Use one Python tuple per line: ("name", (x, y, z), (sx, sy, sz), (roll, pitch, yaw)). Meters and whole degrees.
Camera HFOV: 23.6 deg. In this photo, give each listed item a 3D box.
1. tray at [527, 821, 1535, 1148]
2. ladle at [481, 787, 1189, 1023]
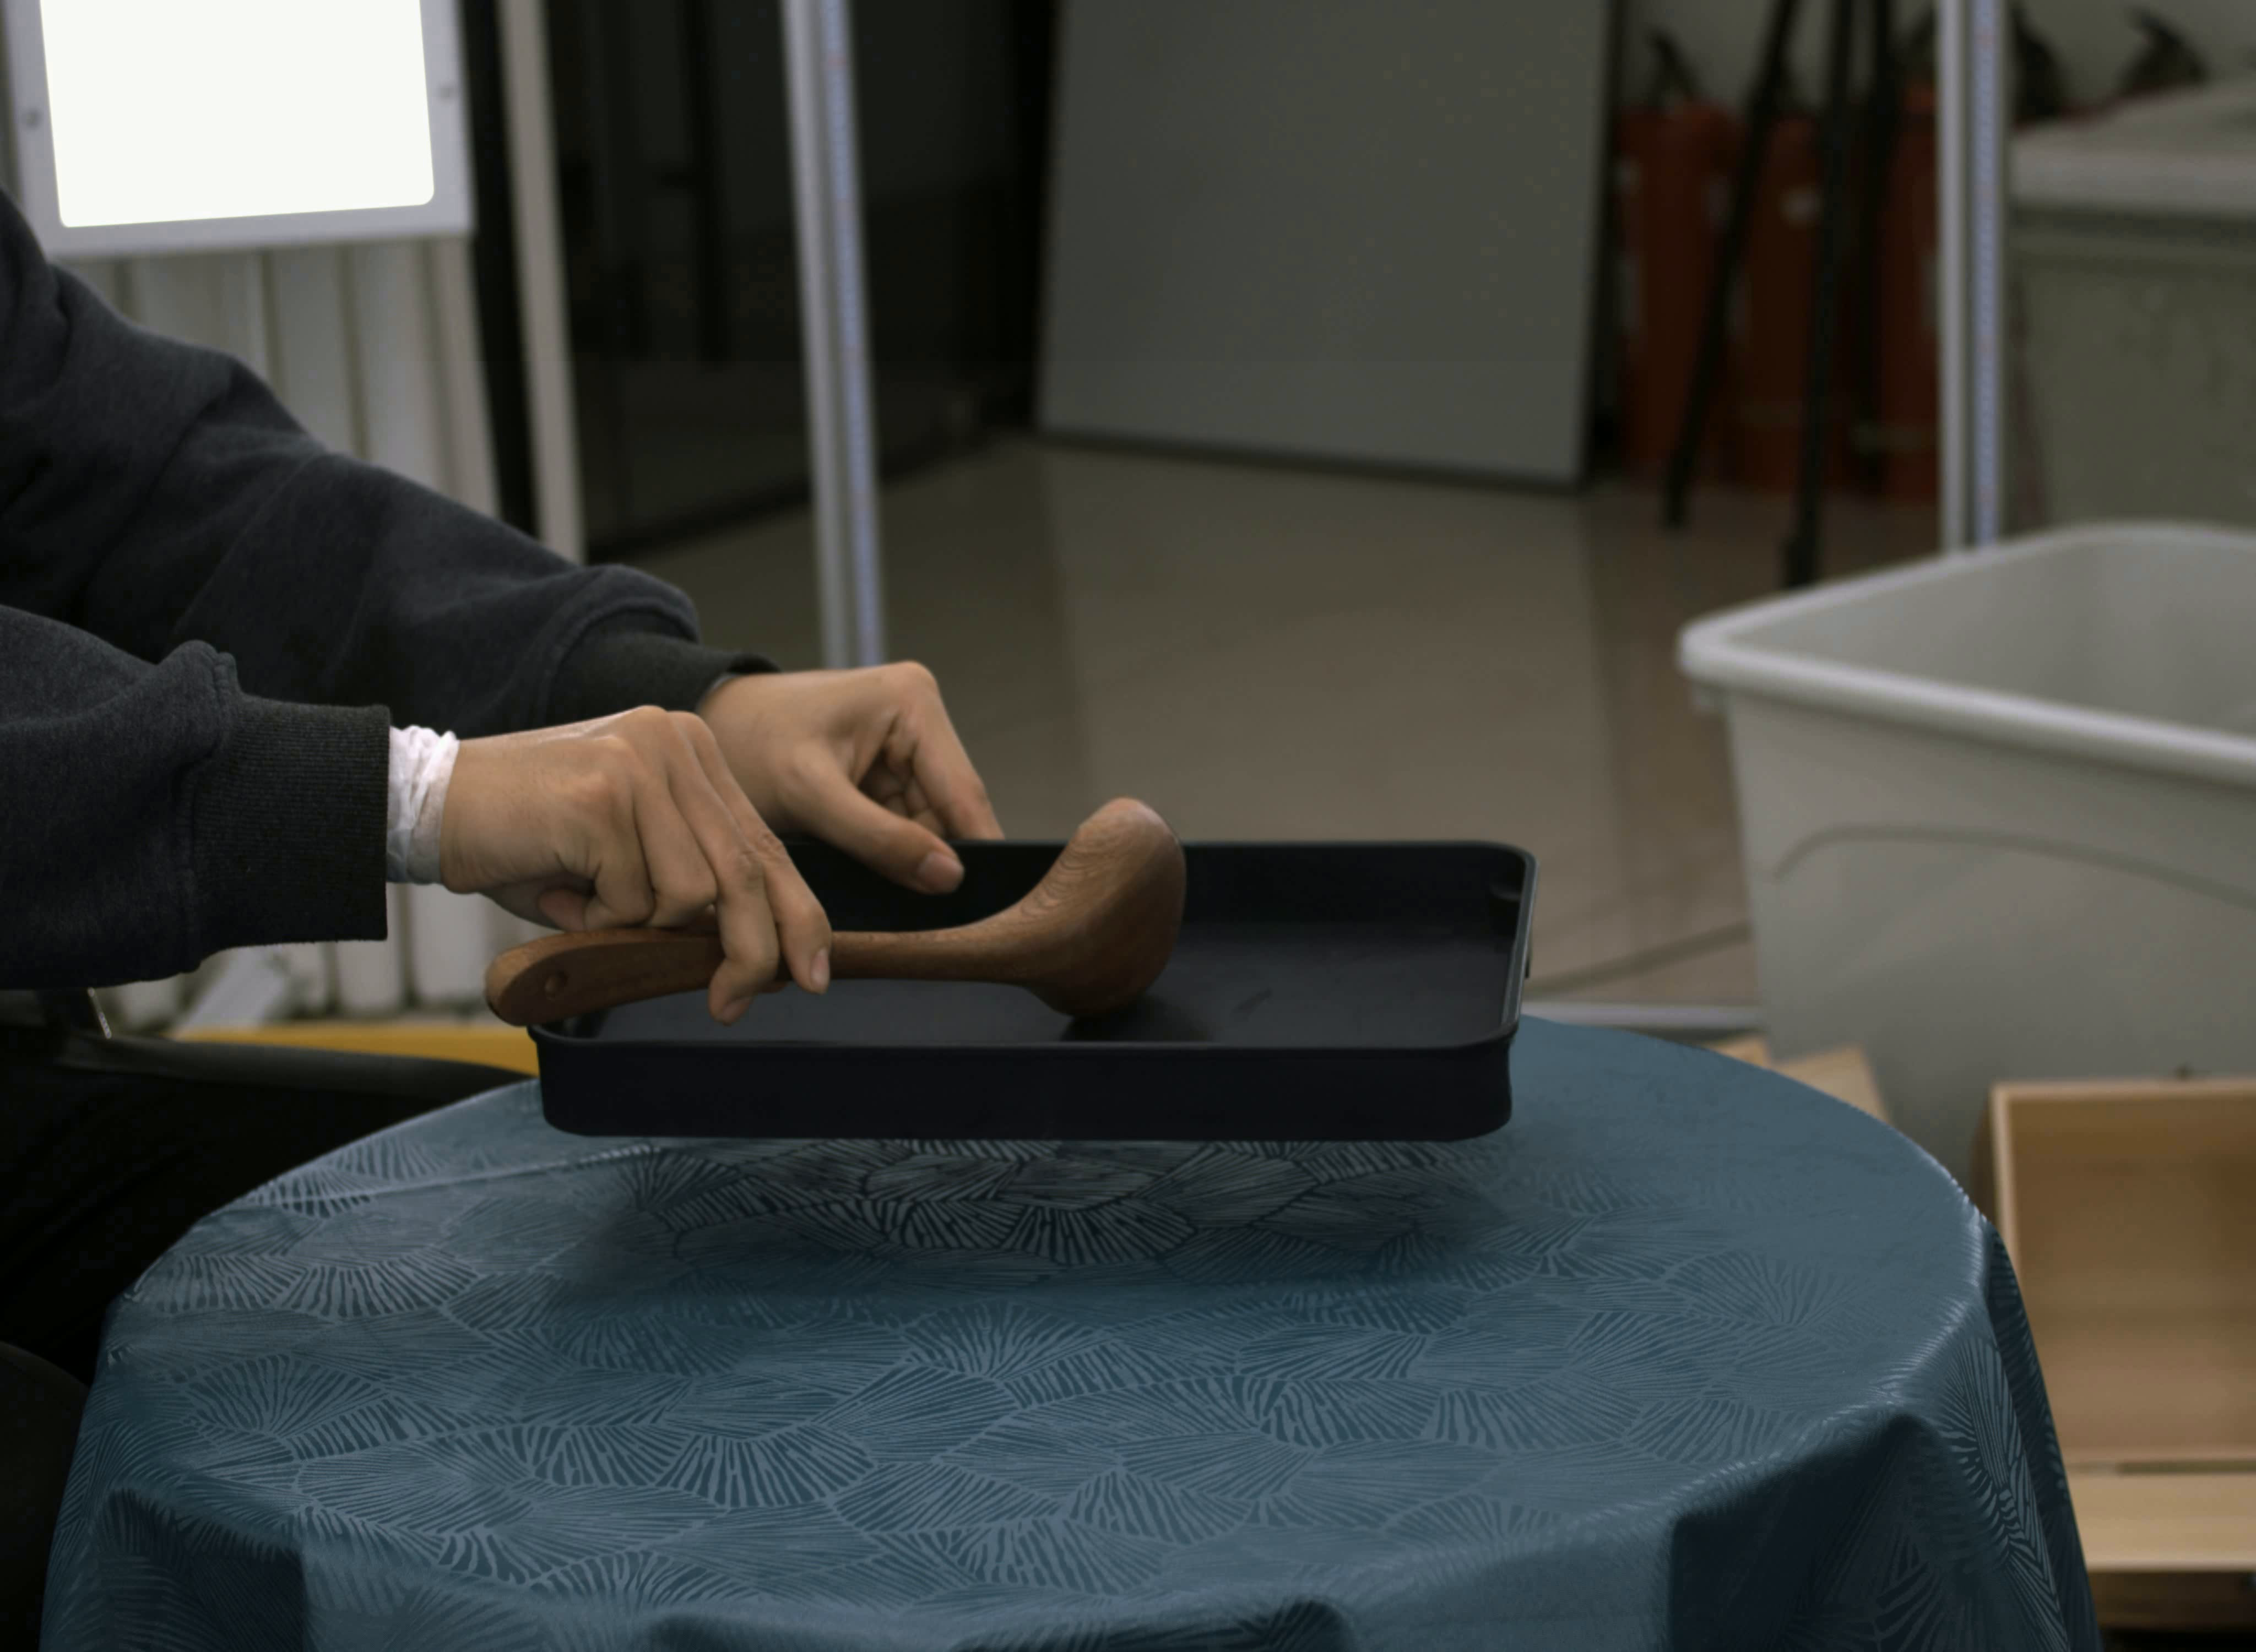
("tray", (-0.027, 0.049, 1.757), (0.315, 0.037, 0.184), (1, 20, 8))
("ladle", (-0.091, 0.033, 1.710), (0.254, 0.077, 0.066), (-4, 20, -26))
